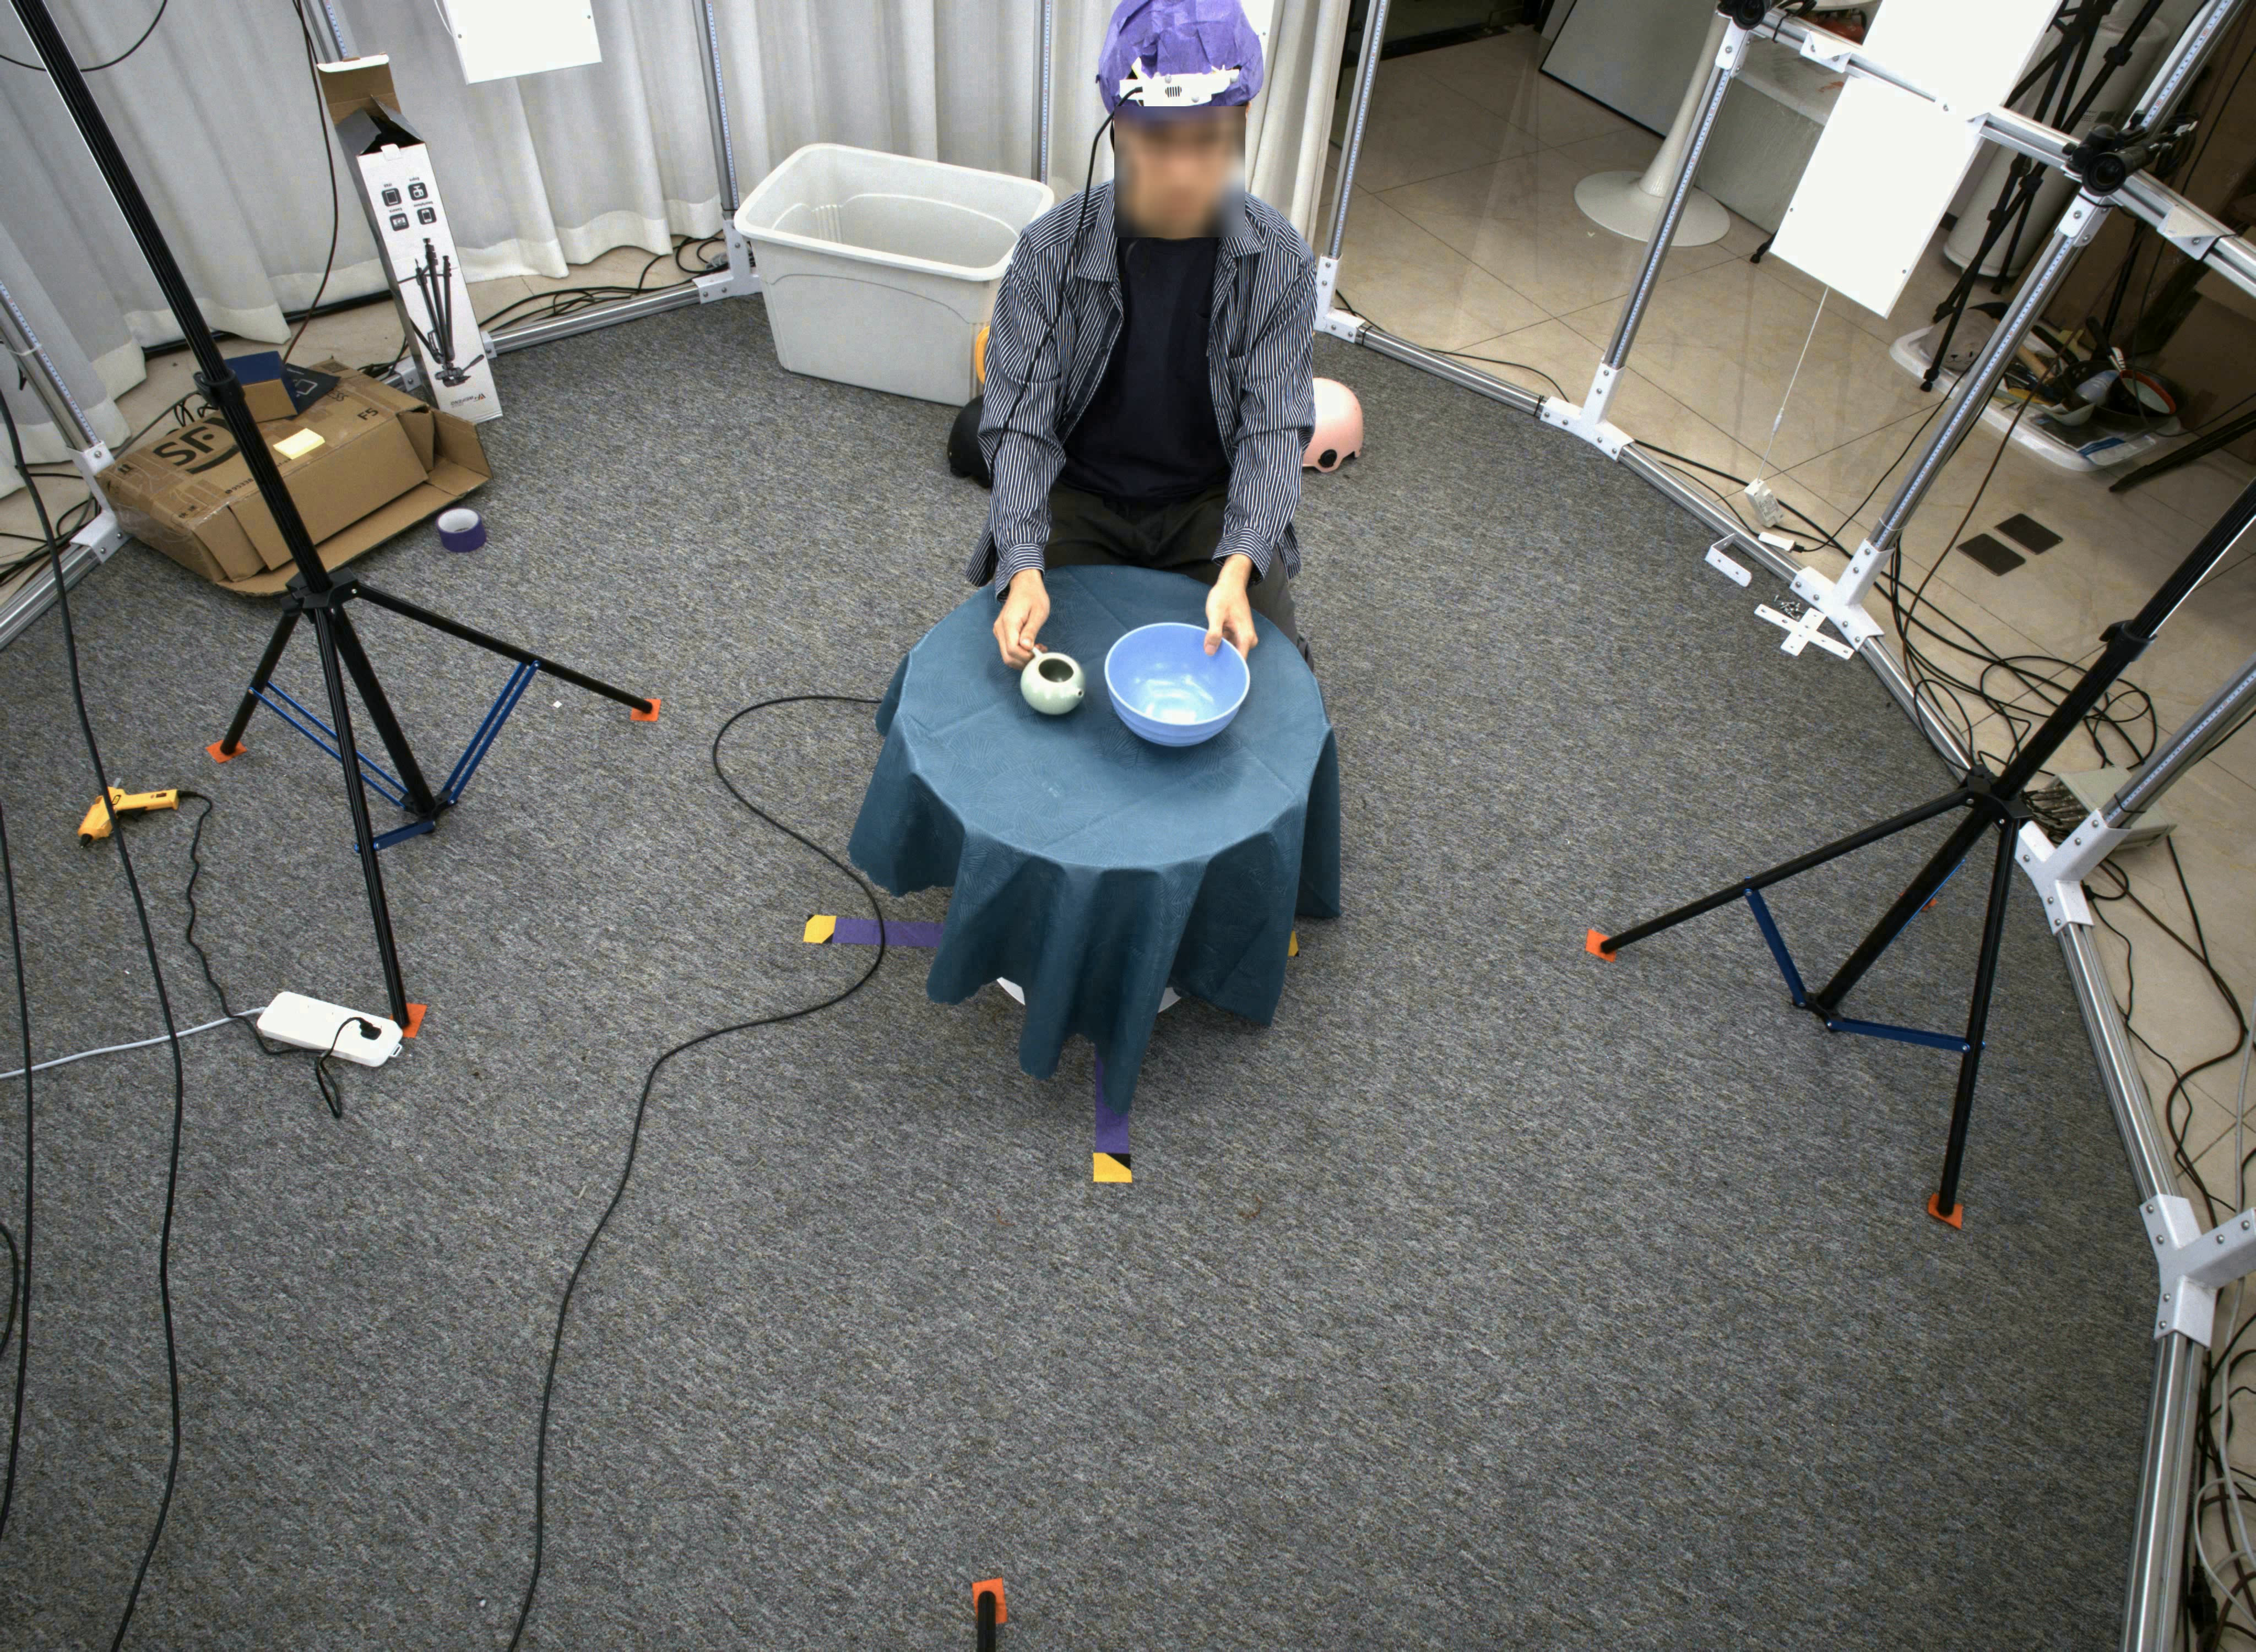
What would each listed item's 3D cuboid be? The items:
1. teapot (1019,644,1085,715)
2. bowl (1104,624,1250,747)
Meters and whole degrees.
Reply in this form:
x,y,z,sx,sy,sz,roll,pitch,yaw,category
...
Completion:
x,y,z,sx,sy,sz,roll,pitch,yaw,category
-0.110,-0.202,1.777,0.092,0.059,0.131,-25,59,-29,teapot
0.062,-0.178,1.757,0.196,0.093,0.201,3,49,-3,bowl
